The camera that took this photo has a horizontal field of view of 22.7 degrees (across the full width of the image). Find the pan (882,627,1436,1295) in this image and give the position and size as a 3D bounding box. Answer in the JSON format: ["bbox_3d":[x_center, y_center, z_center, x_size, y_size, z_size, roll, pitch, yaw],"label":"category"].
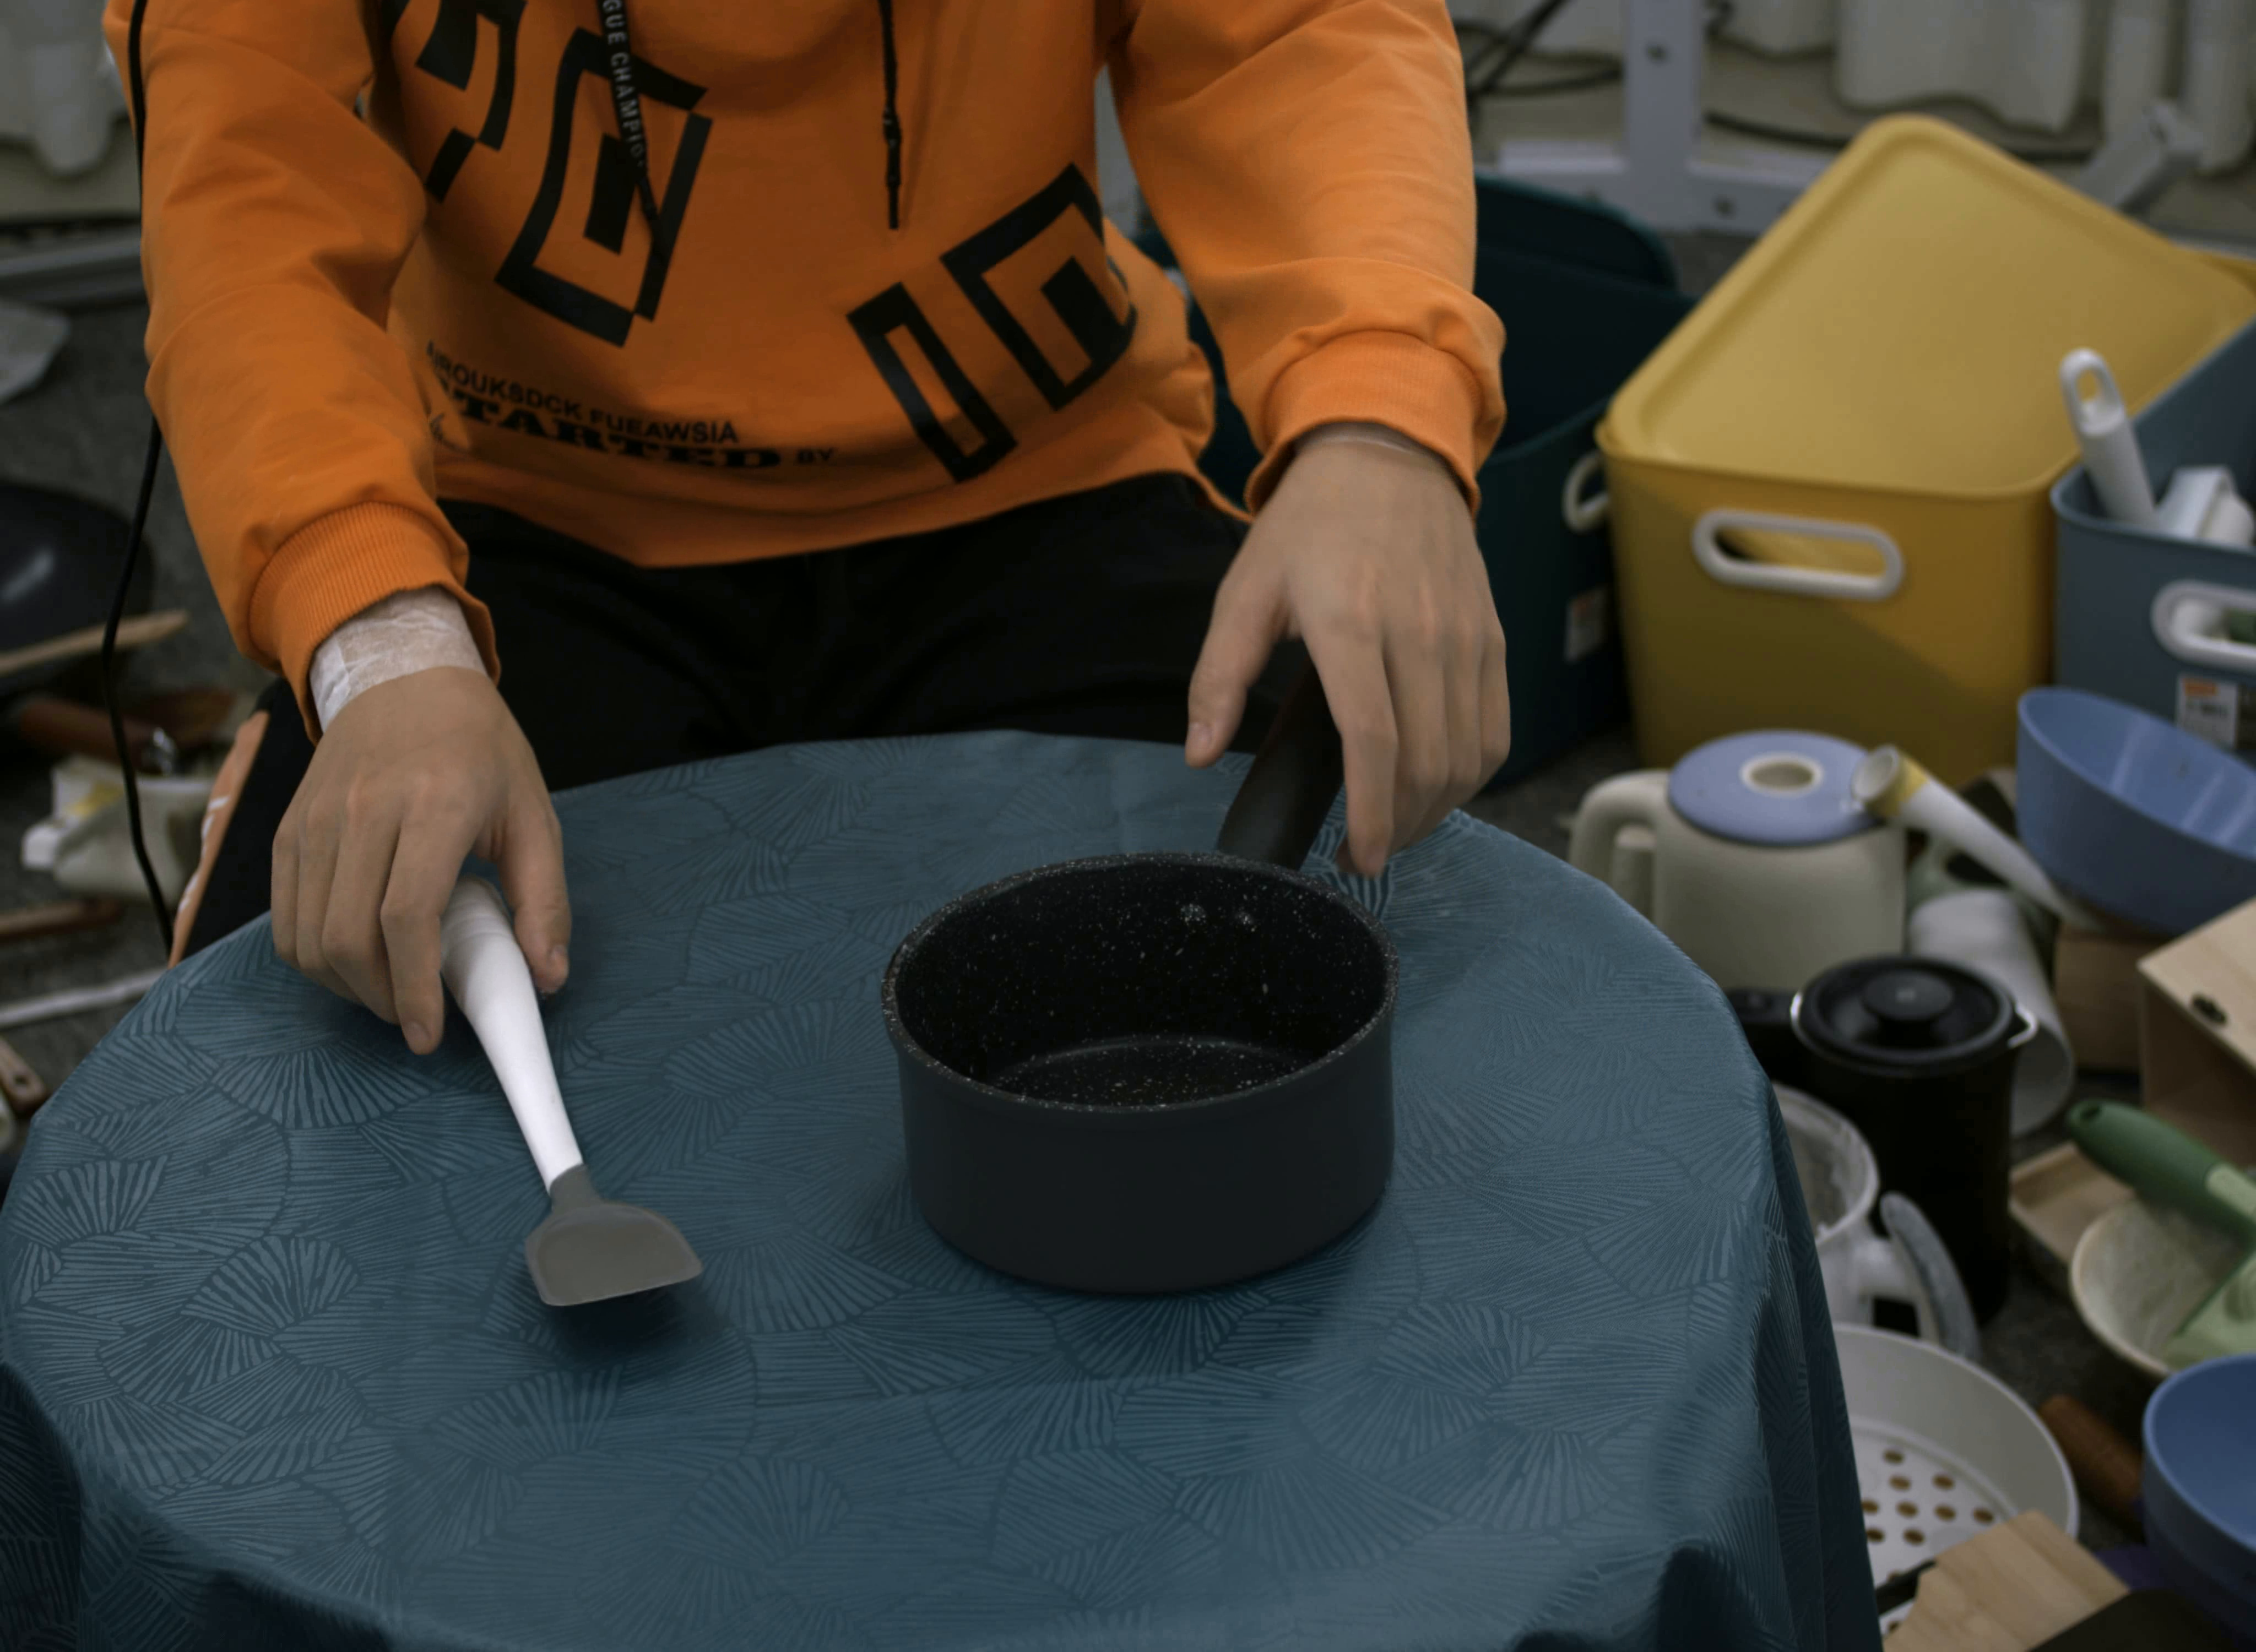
[{"bbox_3d":[0.035,0.042,1.920,0.171,0.085,0.334,8,31,20],"label":"pan"}]

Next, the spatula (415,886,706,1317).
[{"bbox_3d":[-0.198,0.097,1.896,0.059,0.032,0.290,-8,27,-15],"label":"spatula"}]
